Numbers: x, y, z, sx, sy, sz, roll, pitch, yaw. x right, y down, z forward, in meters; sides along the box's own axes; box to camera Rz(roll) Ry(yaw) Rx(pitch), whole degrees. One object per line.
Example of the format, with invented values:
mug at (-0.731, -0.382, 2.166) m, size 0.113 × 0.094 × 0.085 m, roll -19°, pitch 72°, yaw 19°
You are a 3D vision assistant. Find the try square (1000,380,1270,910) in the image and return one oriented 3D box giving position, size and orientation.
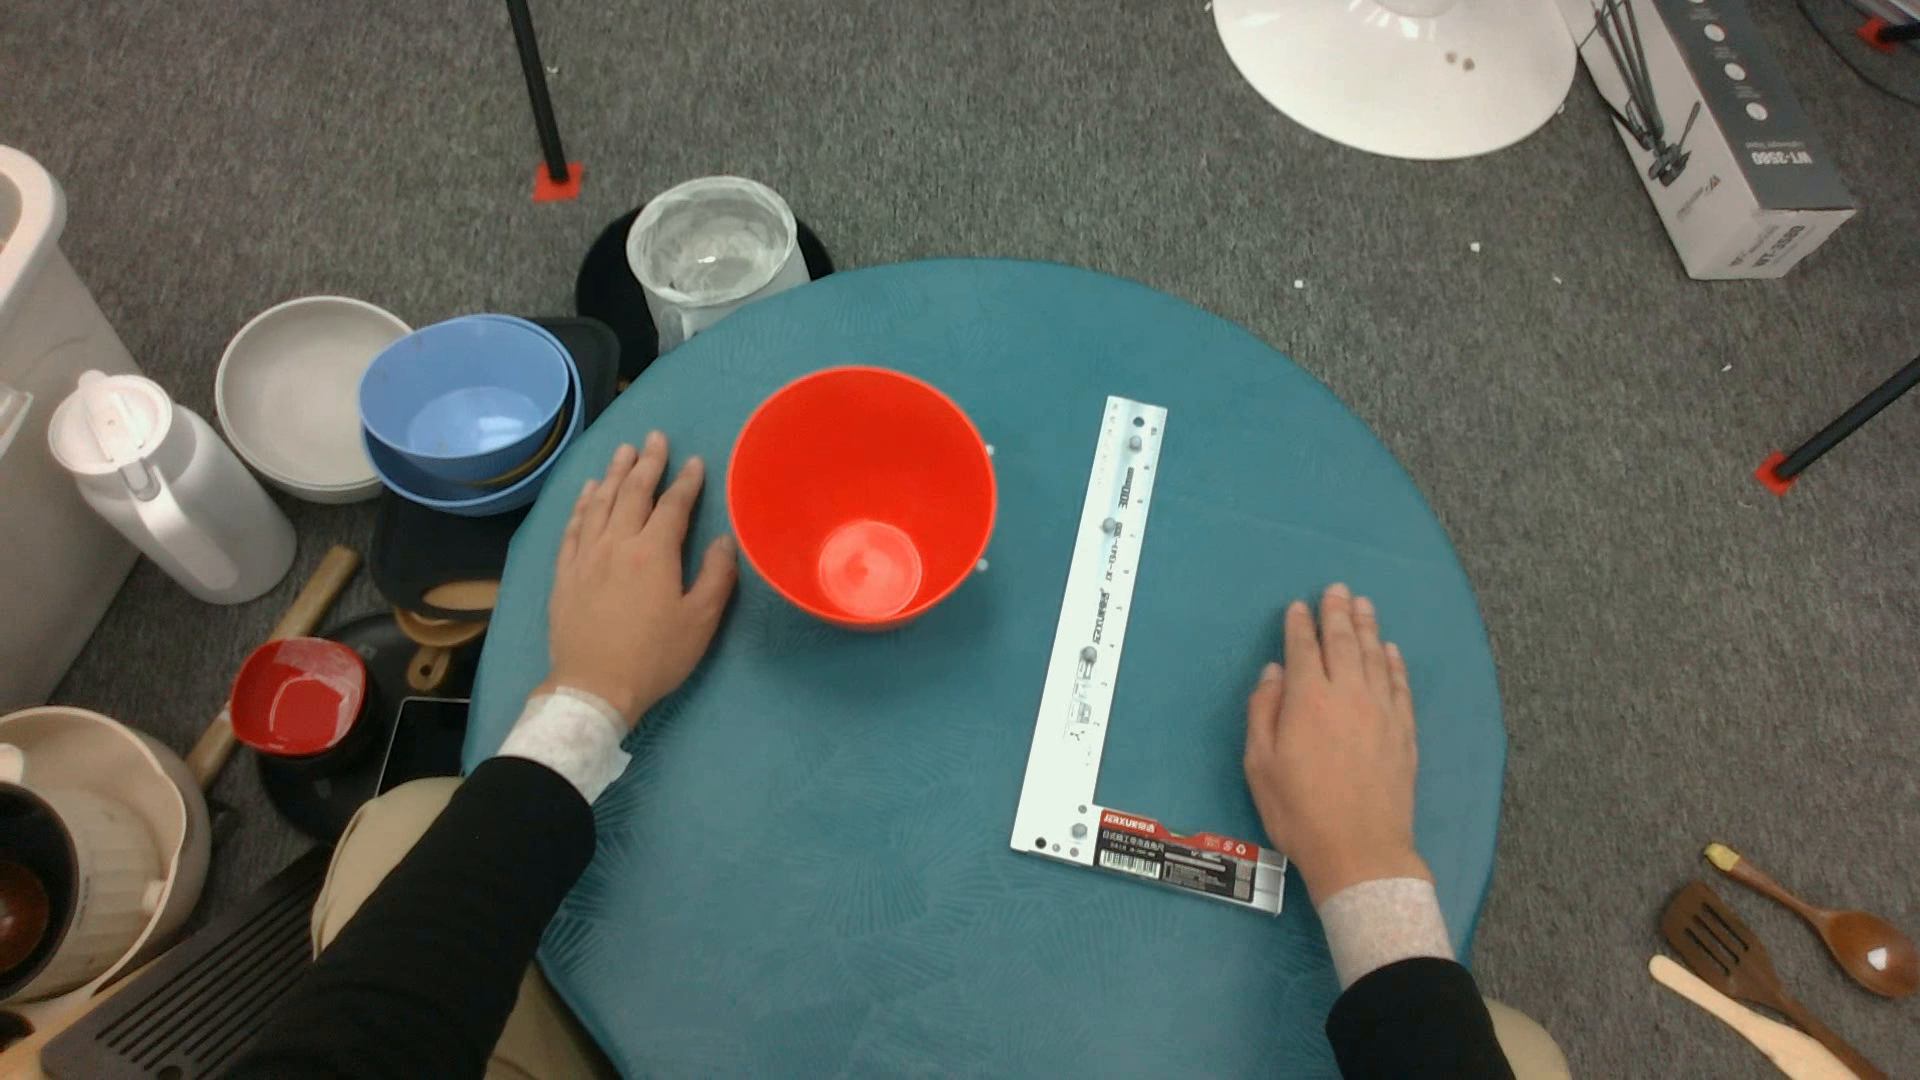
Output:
try square at (0.127, 0.051, 0.828) m, size 0.152 × 0.016 × 0.314 m, roll 16°, pitch 63°, yaw -3°

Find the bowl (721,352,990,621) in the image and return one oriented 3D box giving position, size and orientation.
bowl at (-0.059, -0.018, 0.789) m, size 0.148 × 0.104 × 0.148 m, roll 2°, pitch 65°, yaw -5°
